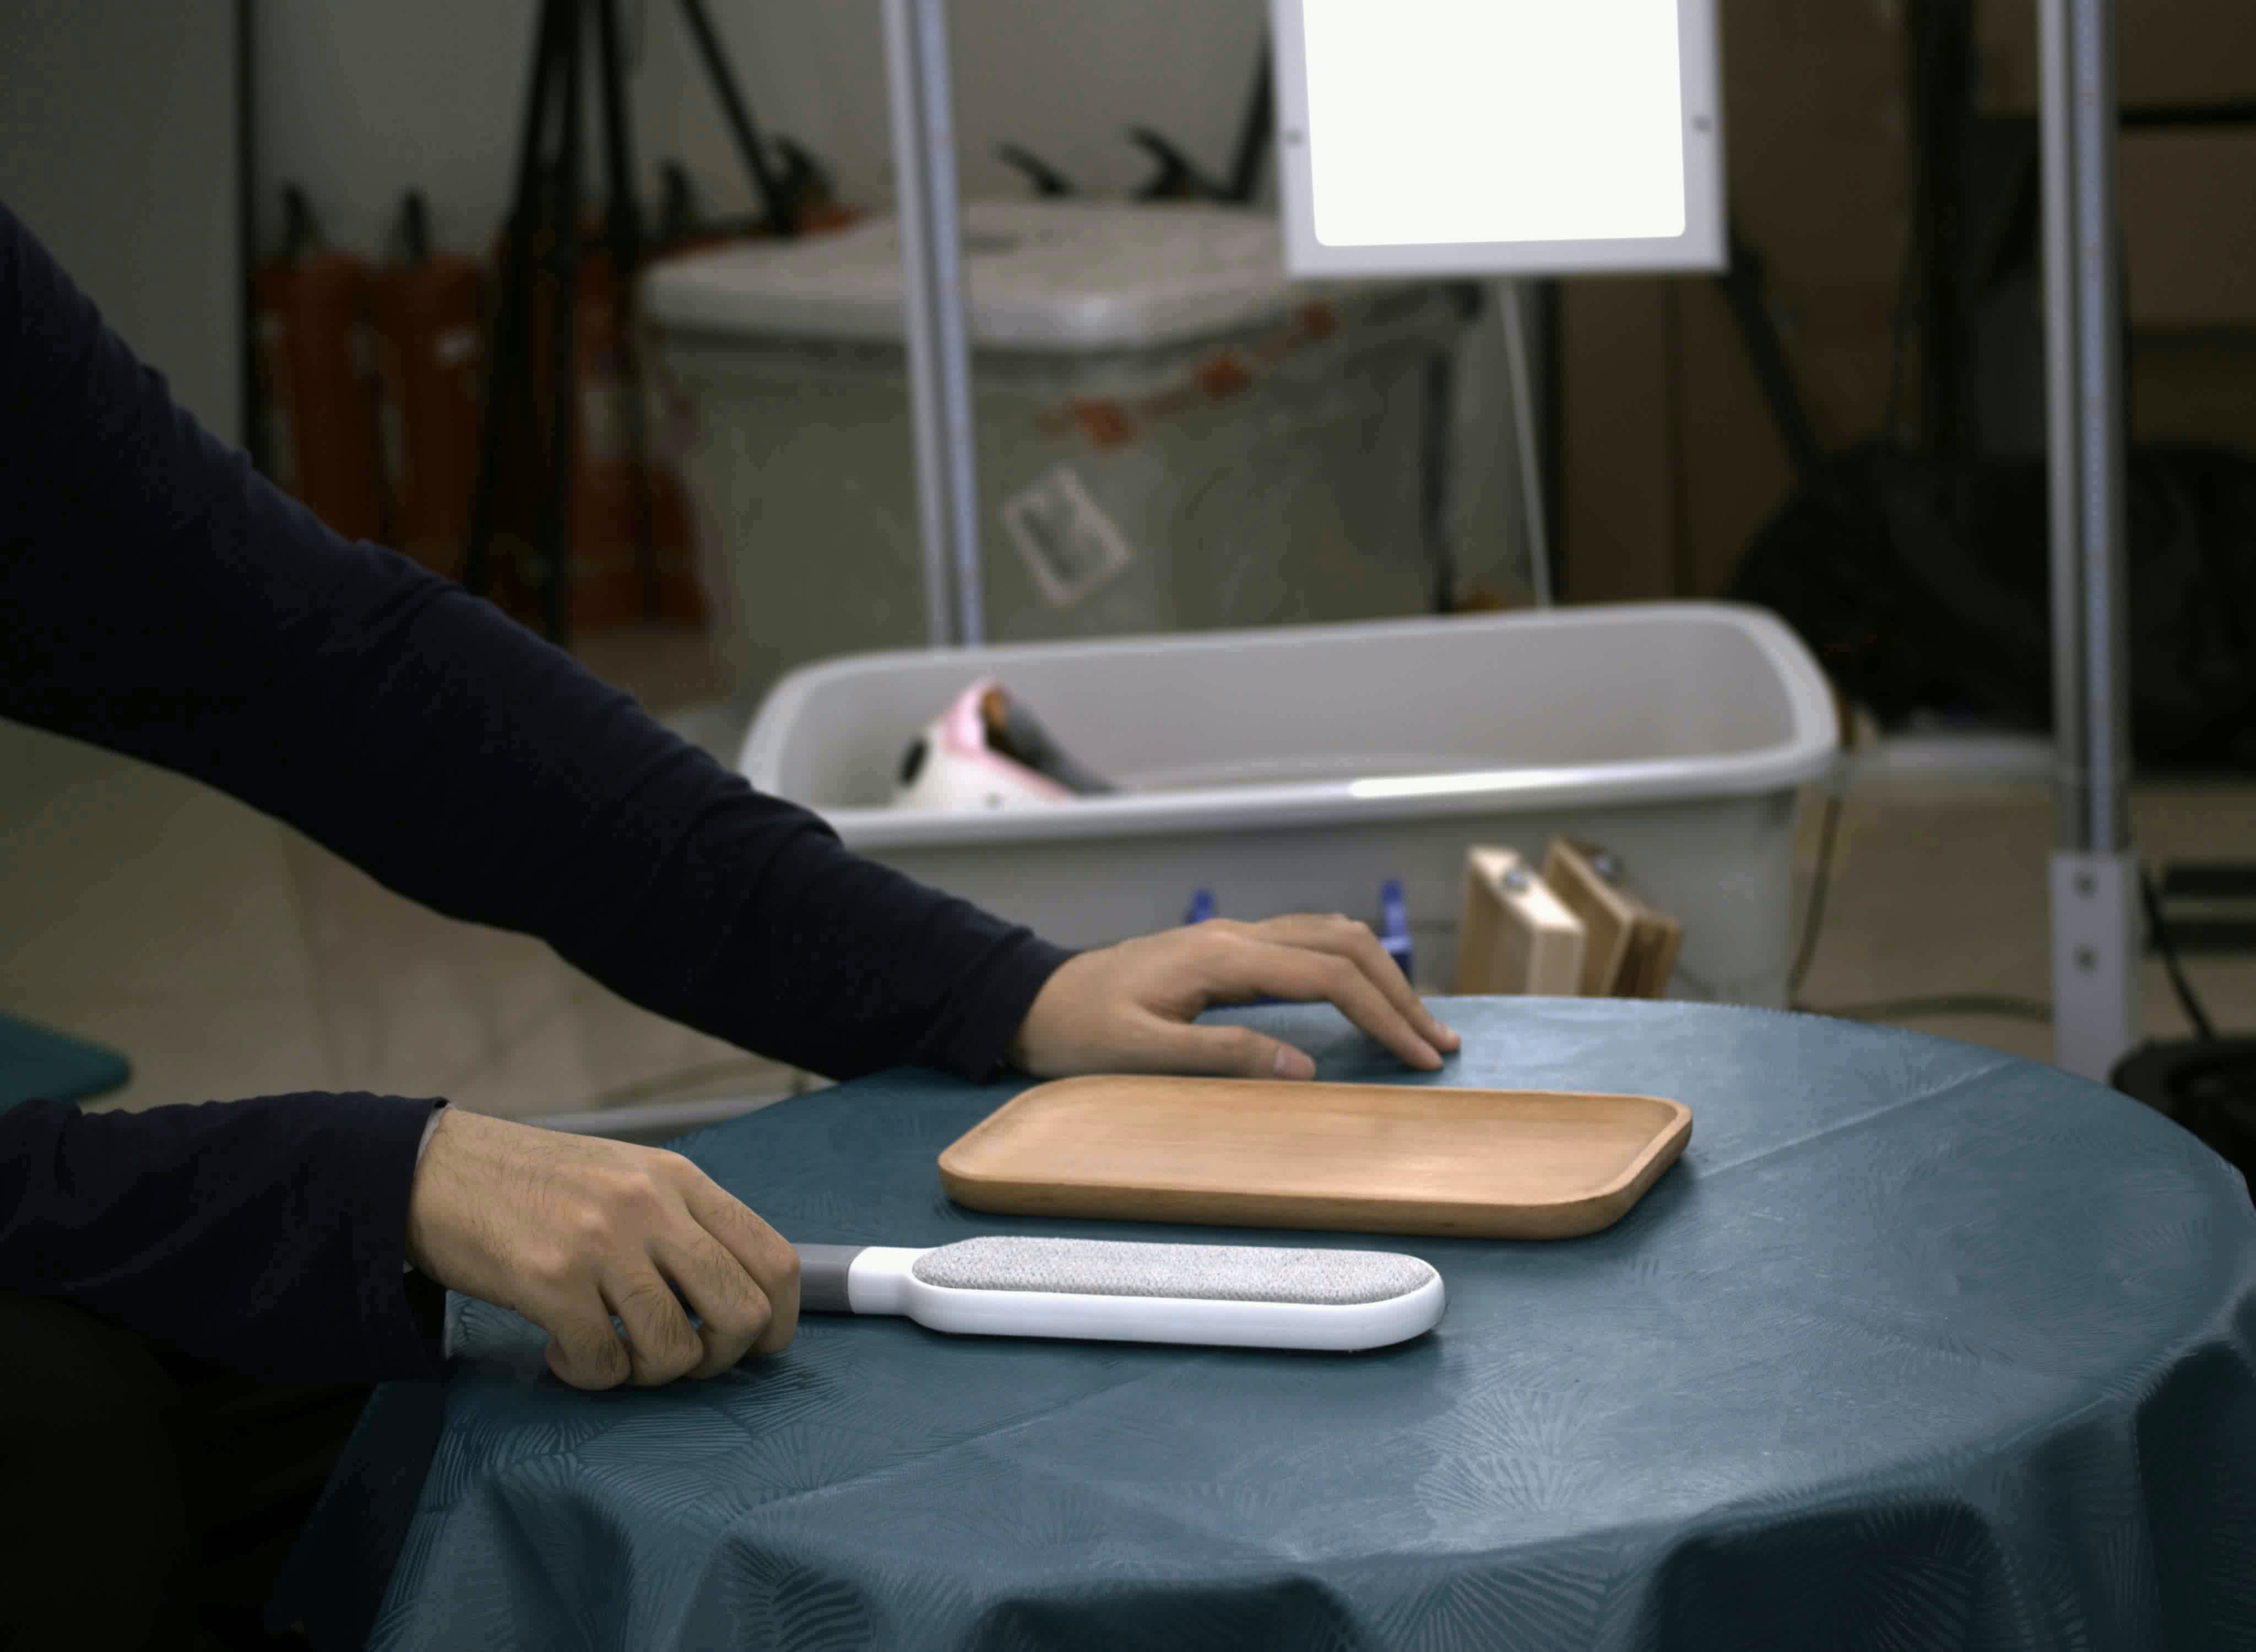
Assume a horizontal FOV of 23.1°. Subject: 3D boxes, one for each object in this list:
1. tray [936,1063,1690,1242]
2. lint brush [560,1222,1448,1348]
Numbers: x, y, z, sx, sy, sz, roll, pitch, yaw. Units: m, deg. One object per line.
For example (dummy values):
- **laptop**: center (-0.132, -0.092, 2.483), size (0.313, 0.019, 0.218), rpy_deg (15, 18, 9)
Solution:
- **tray**: center (0.064, 0.112, 1.903), size (0.255, 0.023, 0.128), rpy_deg (1, 13, 26)
- **lint brush**: center (-0.045, 0.145, 1.786), size (0.313, 0.021, 0.059), rpy_deg (1, 20, 24)
